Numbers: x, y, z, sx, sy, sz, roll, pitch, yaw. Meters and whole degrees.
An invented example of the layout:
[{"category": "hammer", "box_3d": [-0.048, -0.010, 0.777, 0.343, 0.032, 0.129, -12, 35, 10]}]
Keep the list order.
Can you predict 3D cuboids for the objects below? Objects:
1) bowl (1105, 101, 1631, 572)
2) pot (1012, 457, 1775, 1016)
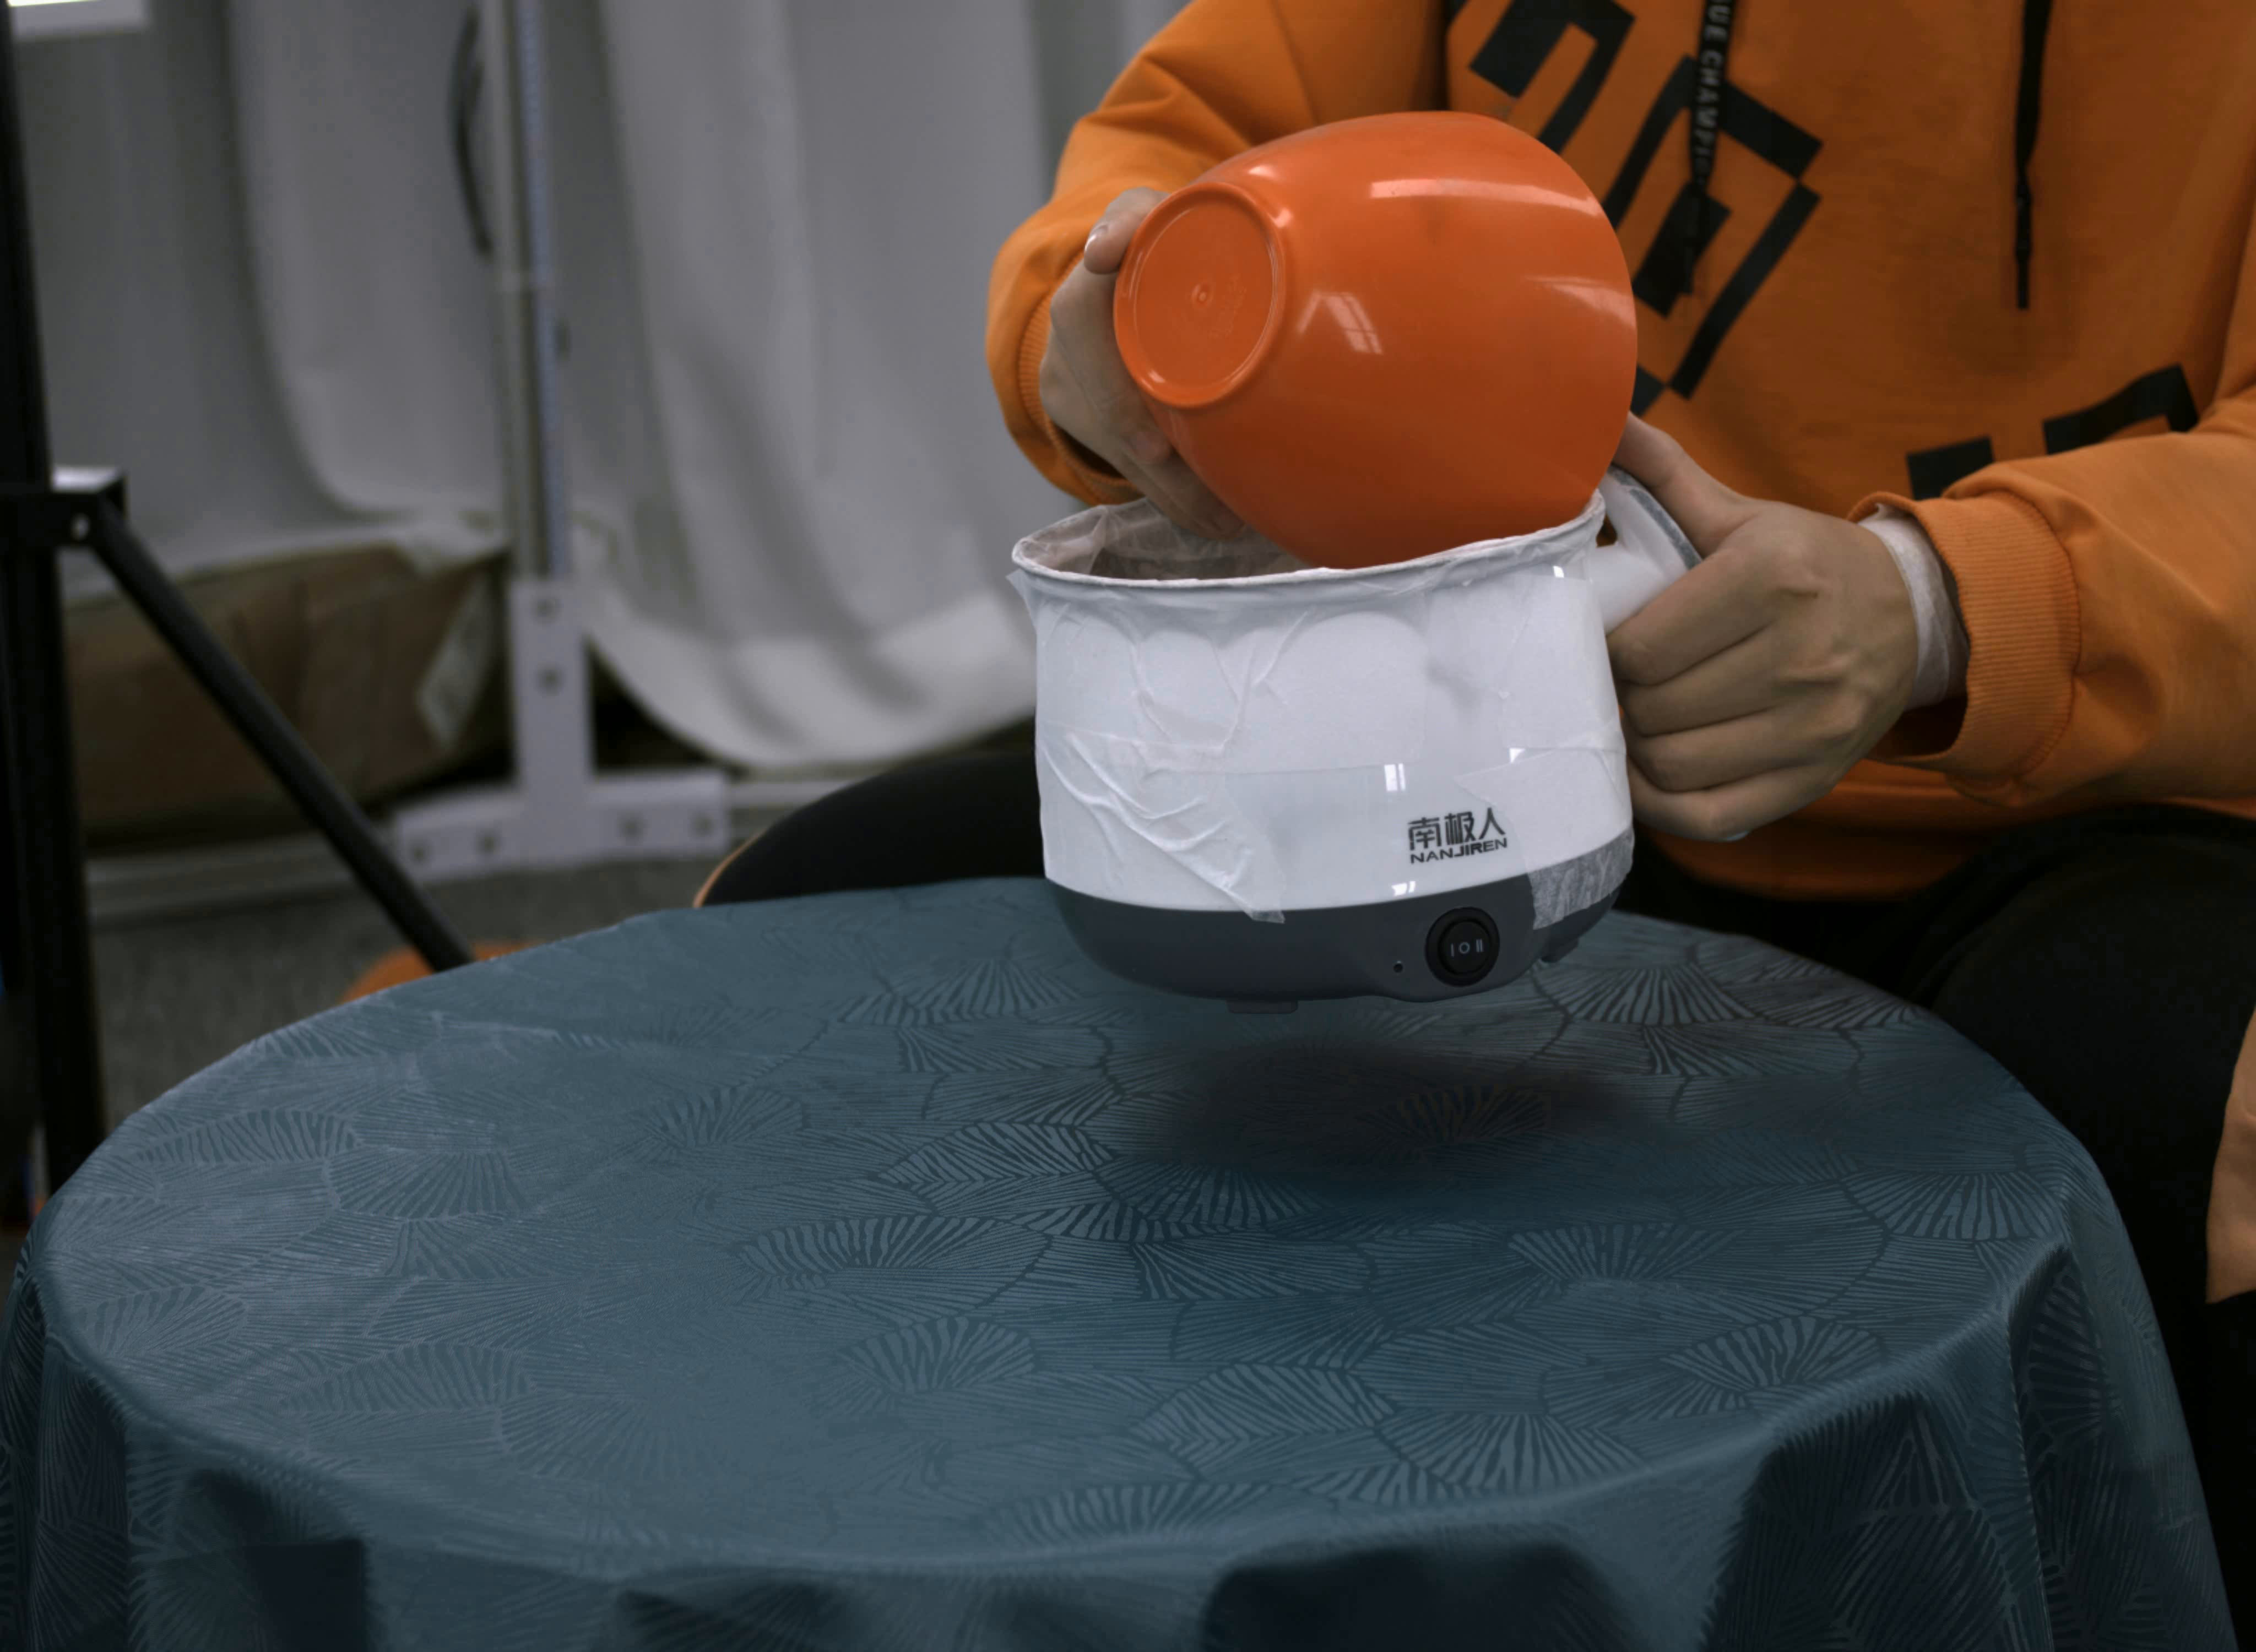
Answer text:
[{"category": "bowl", "box_3d": [0.059, -0.147, 1.572, 0.151, 0.148, 0.102, 13, 3, 42]}, {"category": "pot", "box_3d": [0.085, -0.032, 1.596, 0.229, 0.136, 0.182, -10, 13, -20]}]
